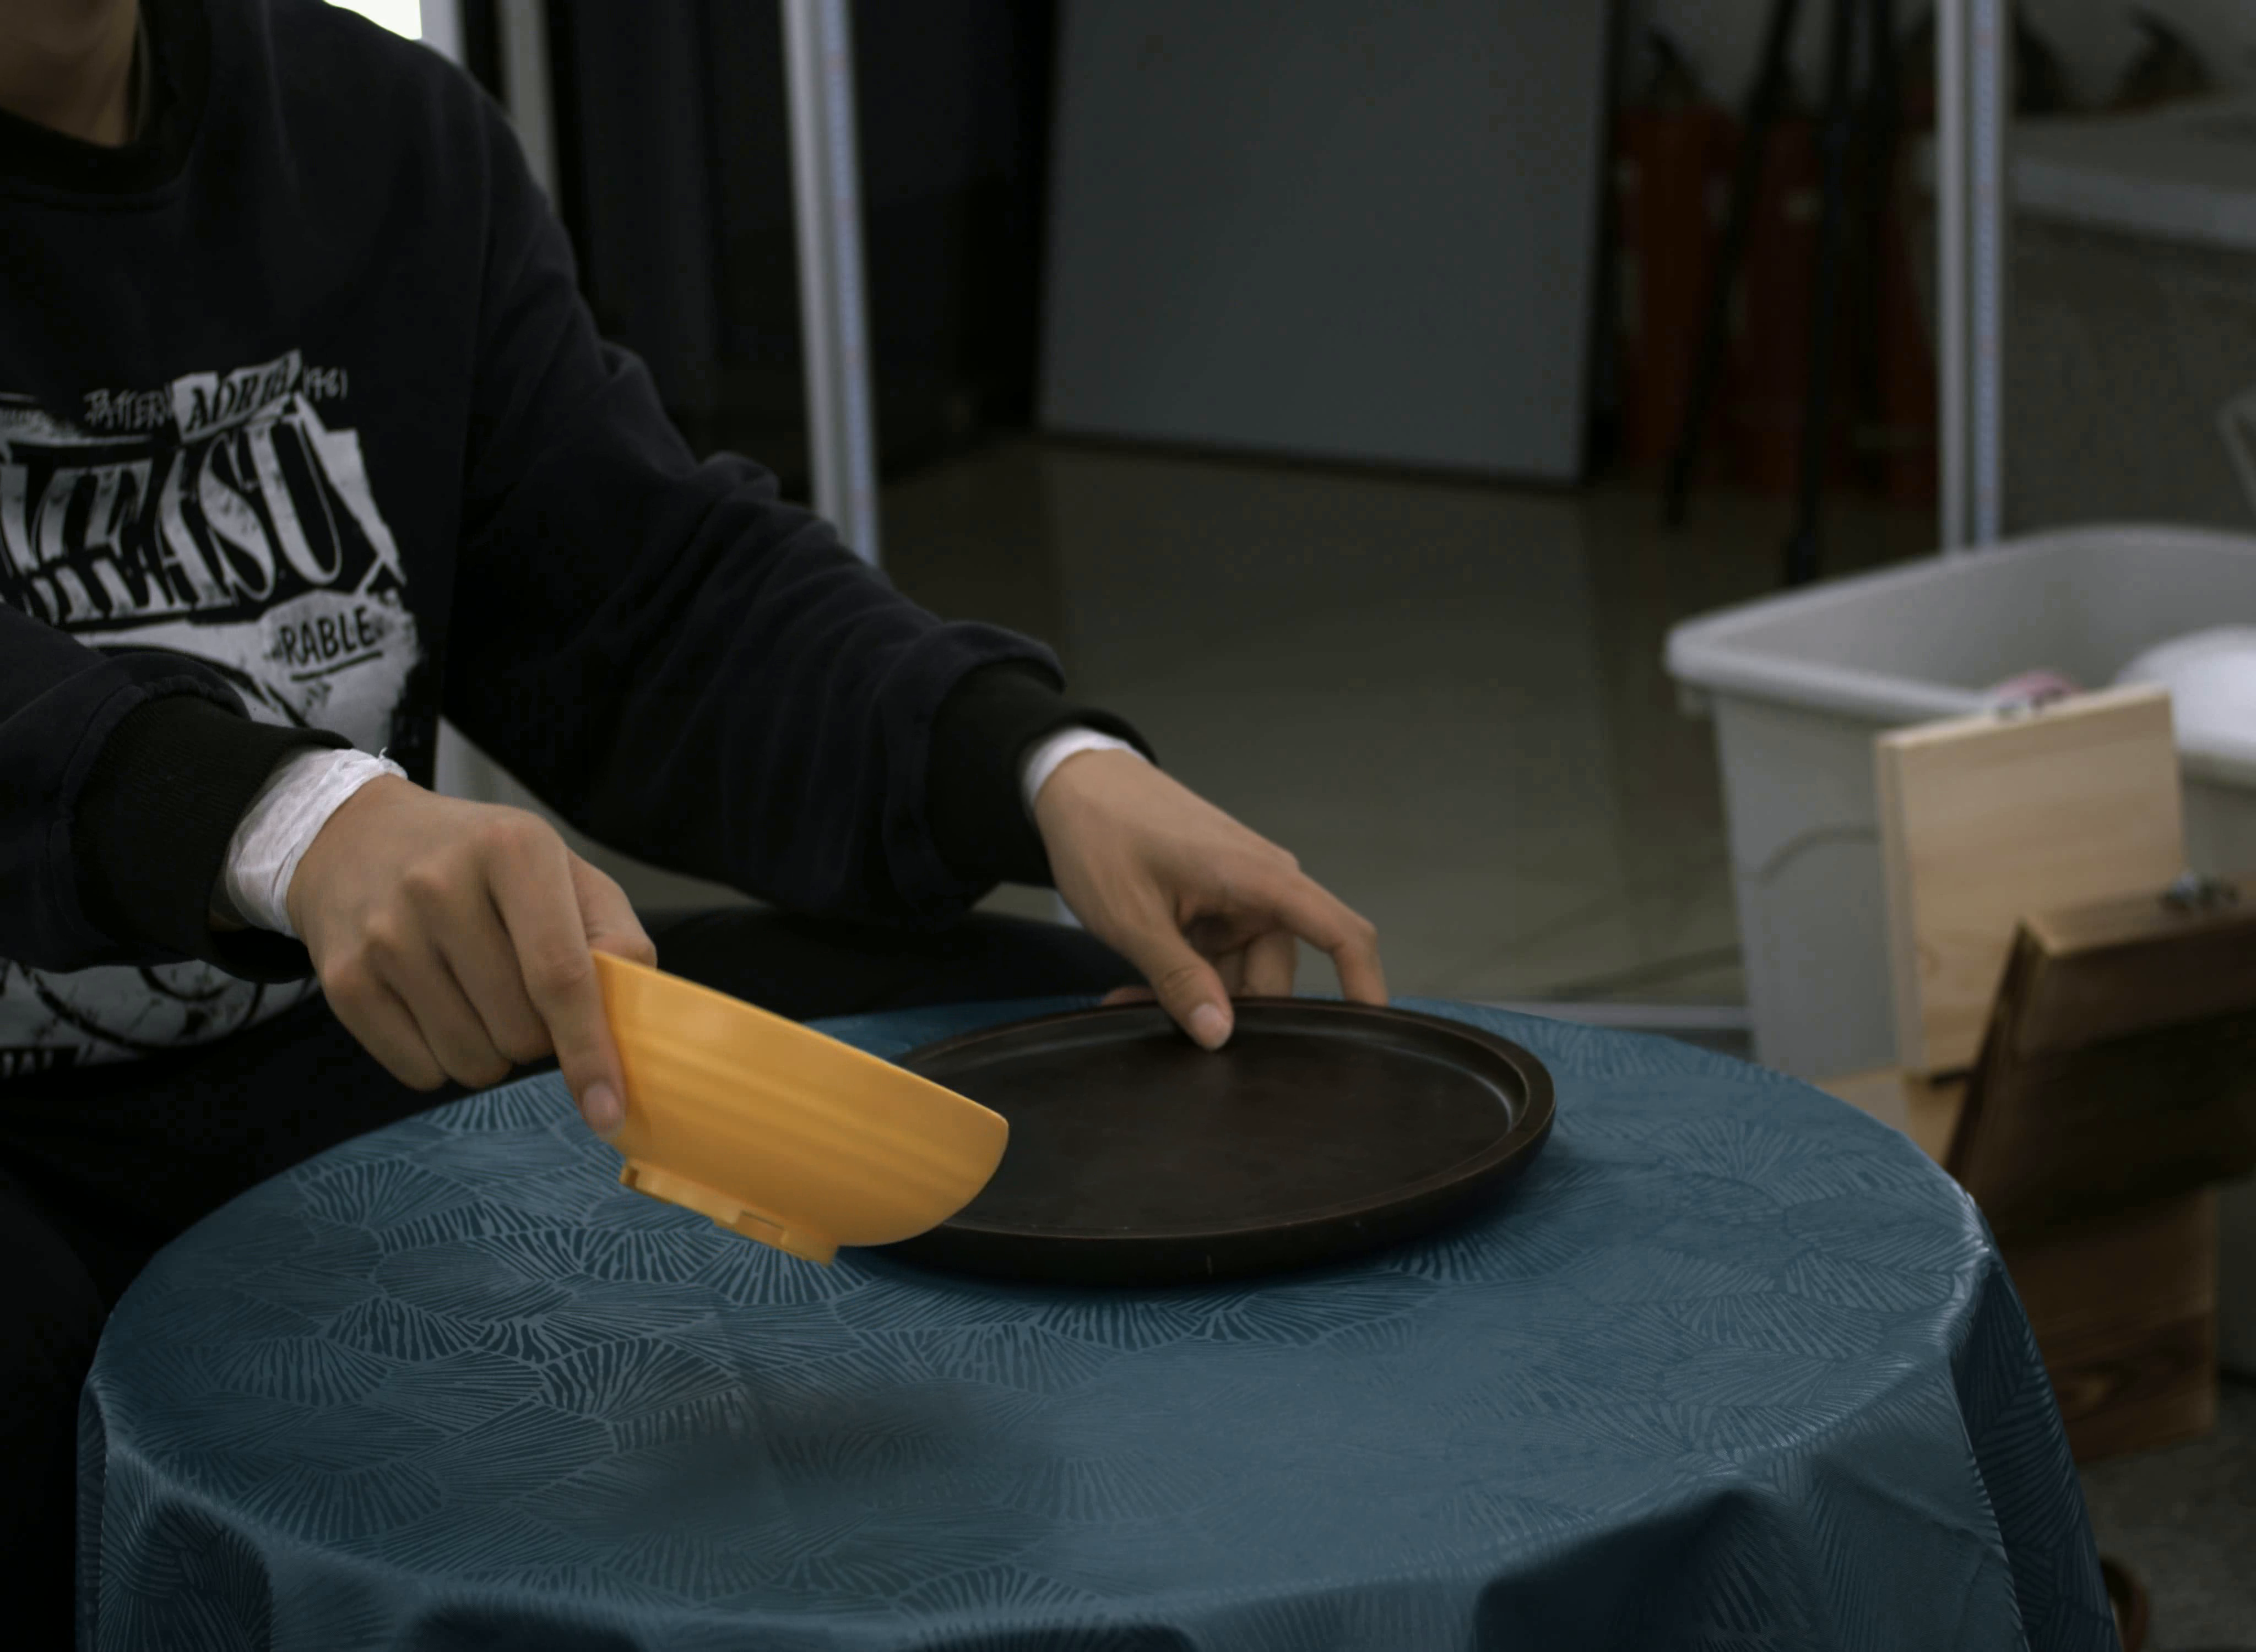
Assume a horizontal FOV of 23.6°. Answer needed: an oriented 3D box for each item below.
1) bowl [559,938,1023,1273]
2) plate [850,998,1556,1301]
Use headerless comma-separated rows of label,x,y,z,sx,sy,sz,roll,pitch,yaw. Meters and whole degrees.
bowl,-0.106,0.088,1.553,0.144,0.060,0.145,21,-11,3
plate,0.017,0.104,1.782,0.251,0.029,0.255,-6,15,1
